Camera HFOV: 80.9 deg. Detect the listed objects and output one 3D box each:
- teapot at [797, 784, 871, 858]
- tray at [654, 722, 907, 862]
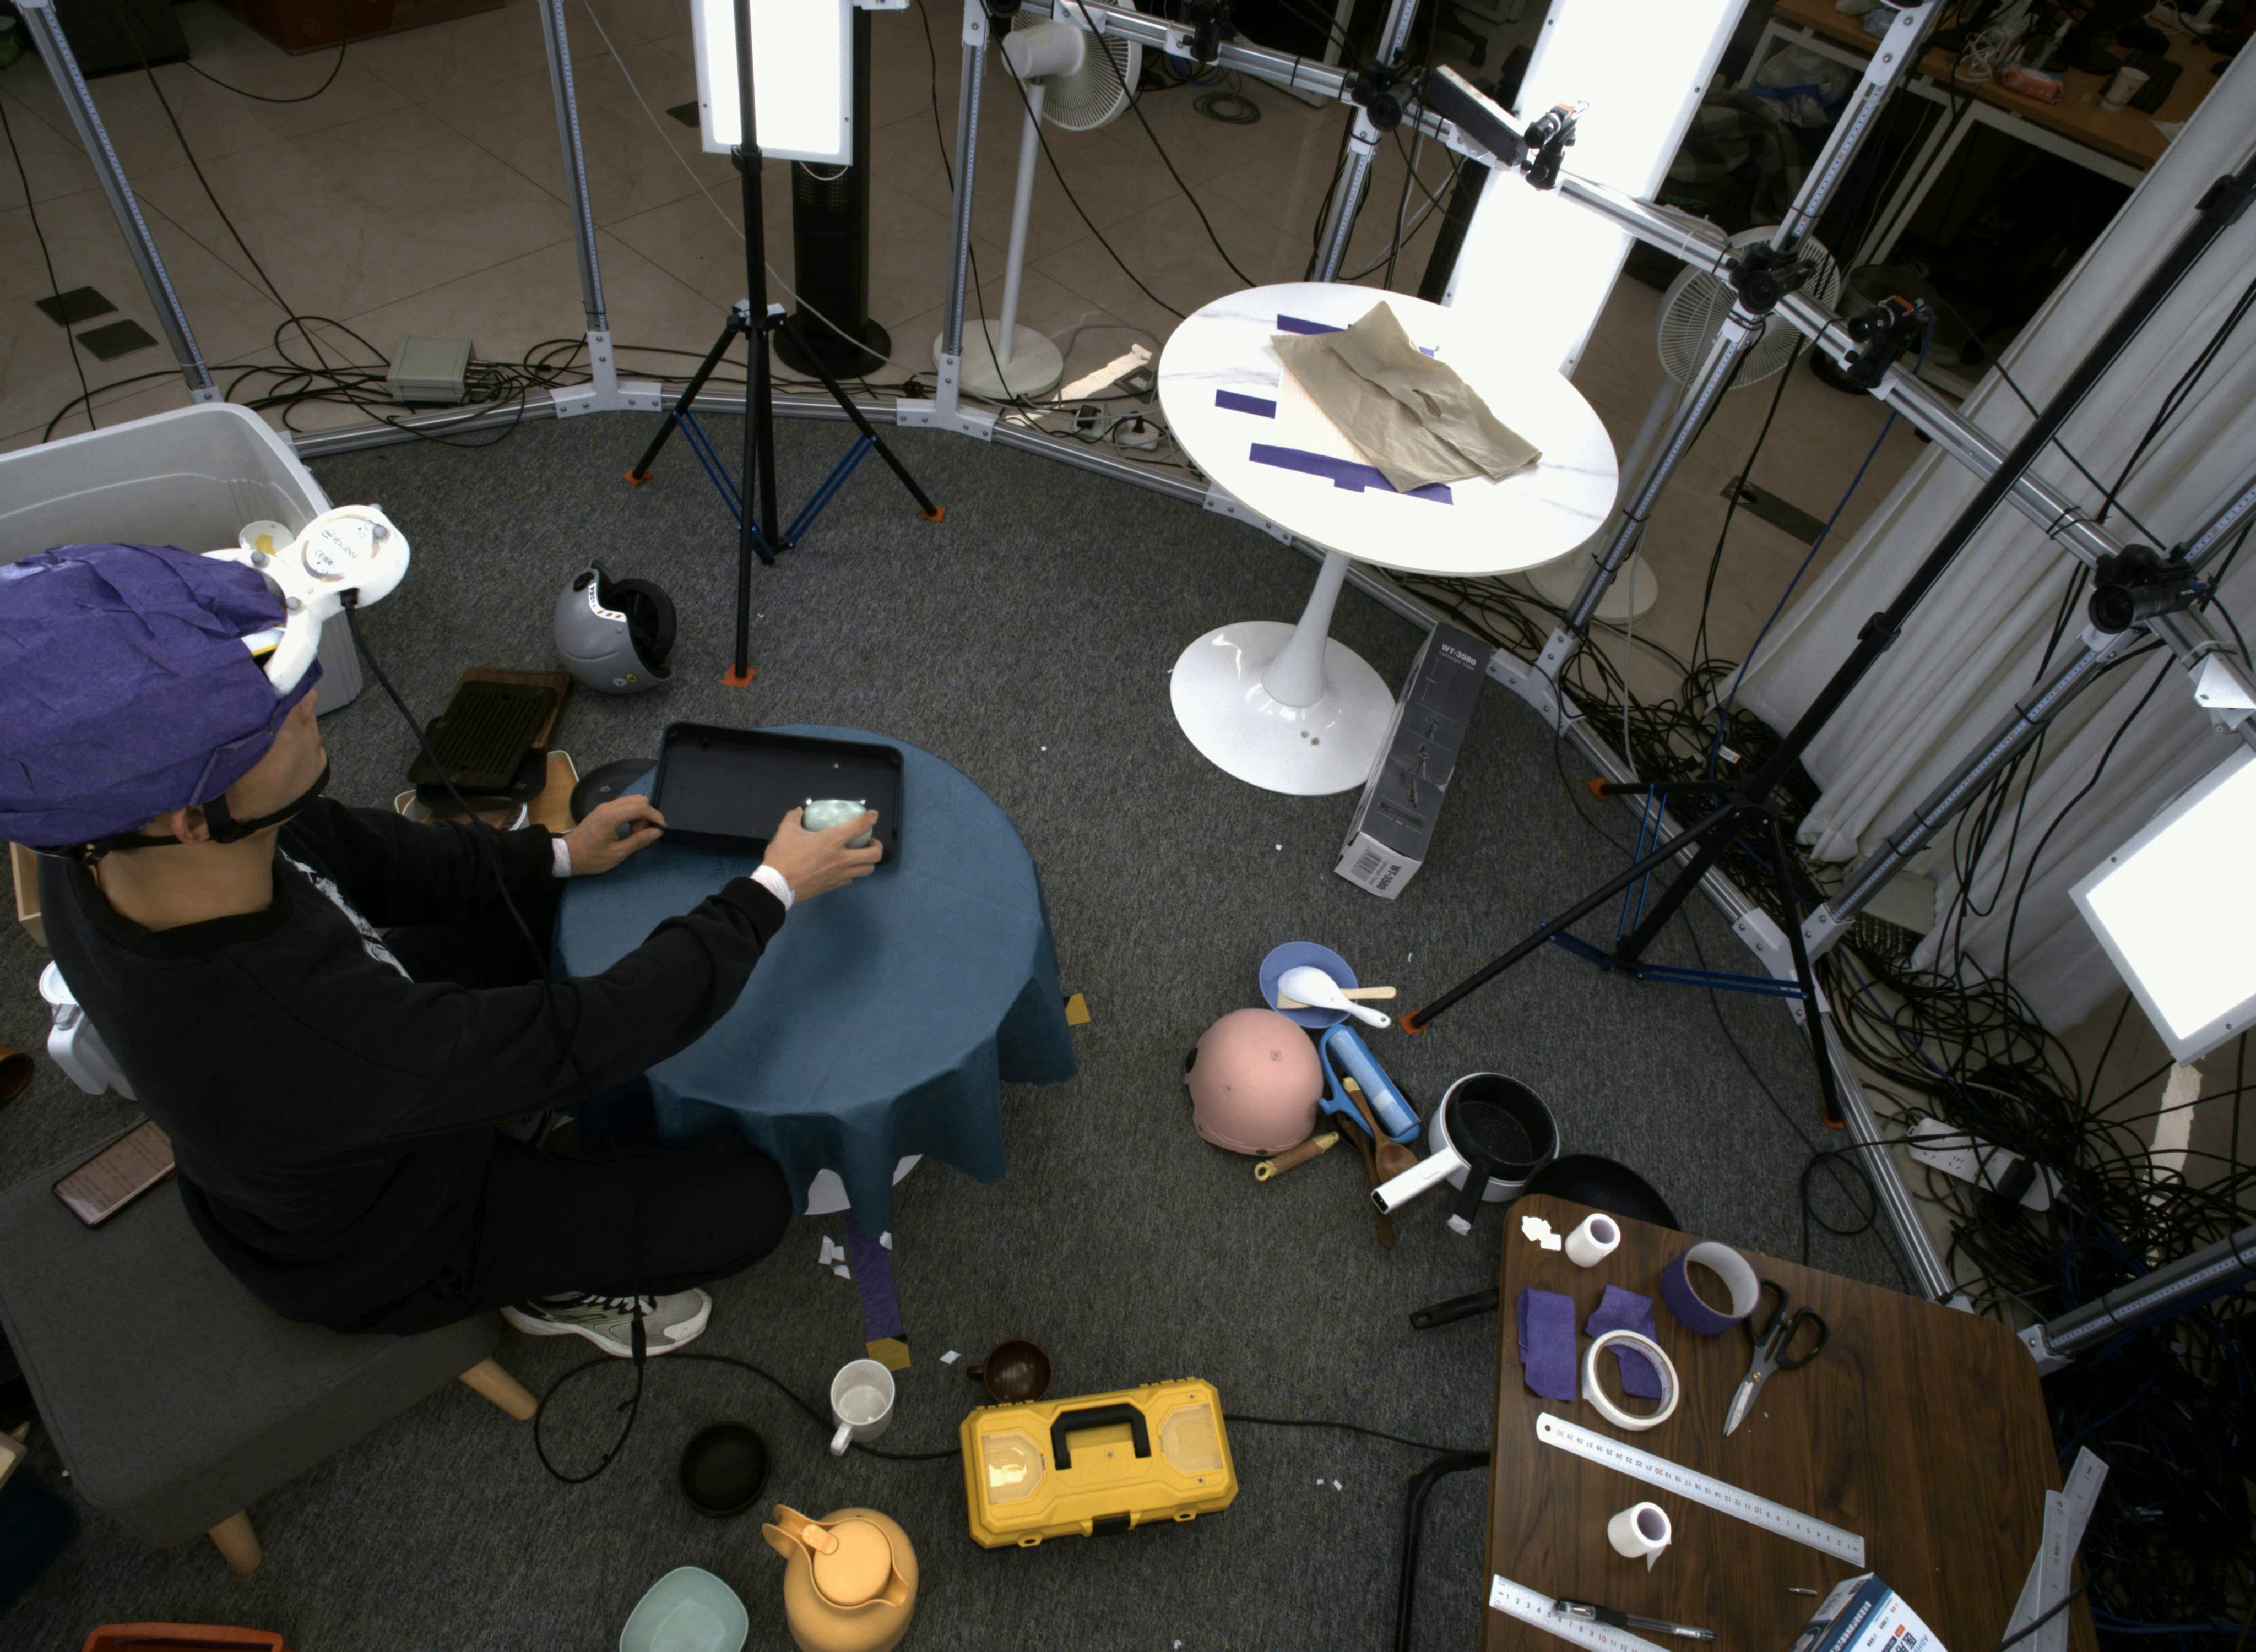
[{"bbox_3d":[-0.358,-0.002,1.579,0.089,0.142,0.075,4,78,-18],"label":"teapot"},{"bbox_3d":[-0.452,-0.045,1.706,0.320,0.037,0.180,5,51,-18],"label":"tray"}]
